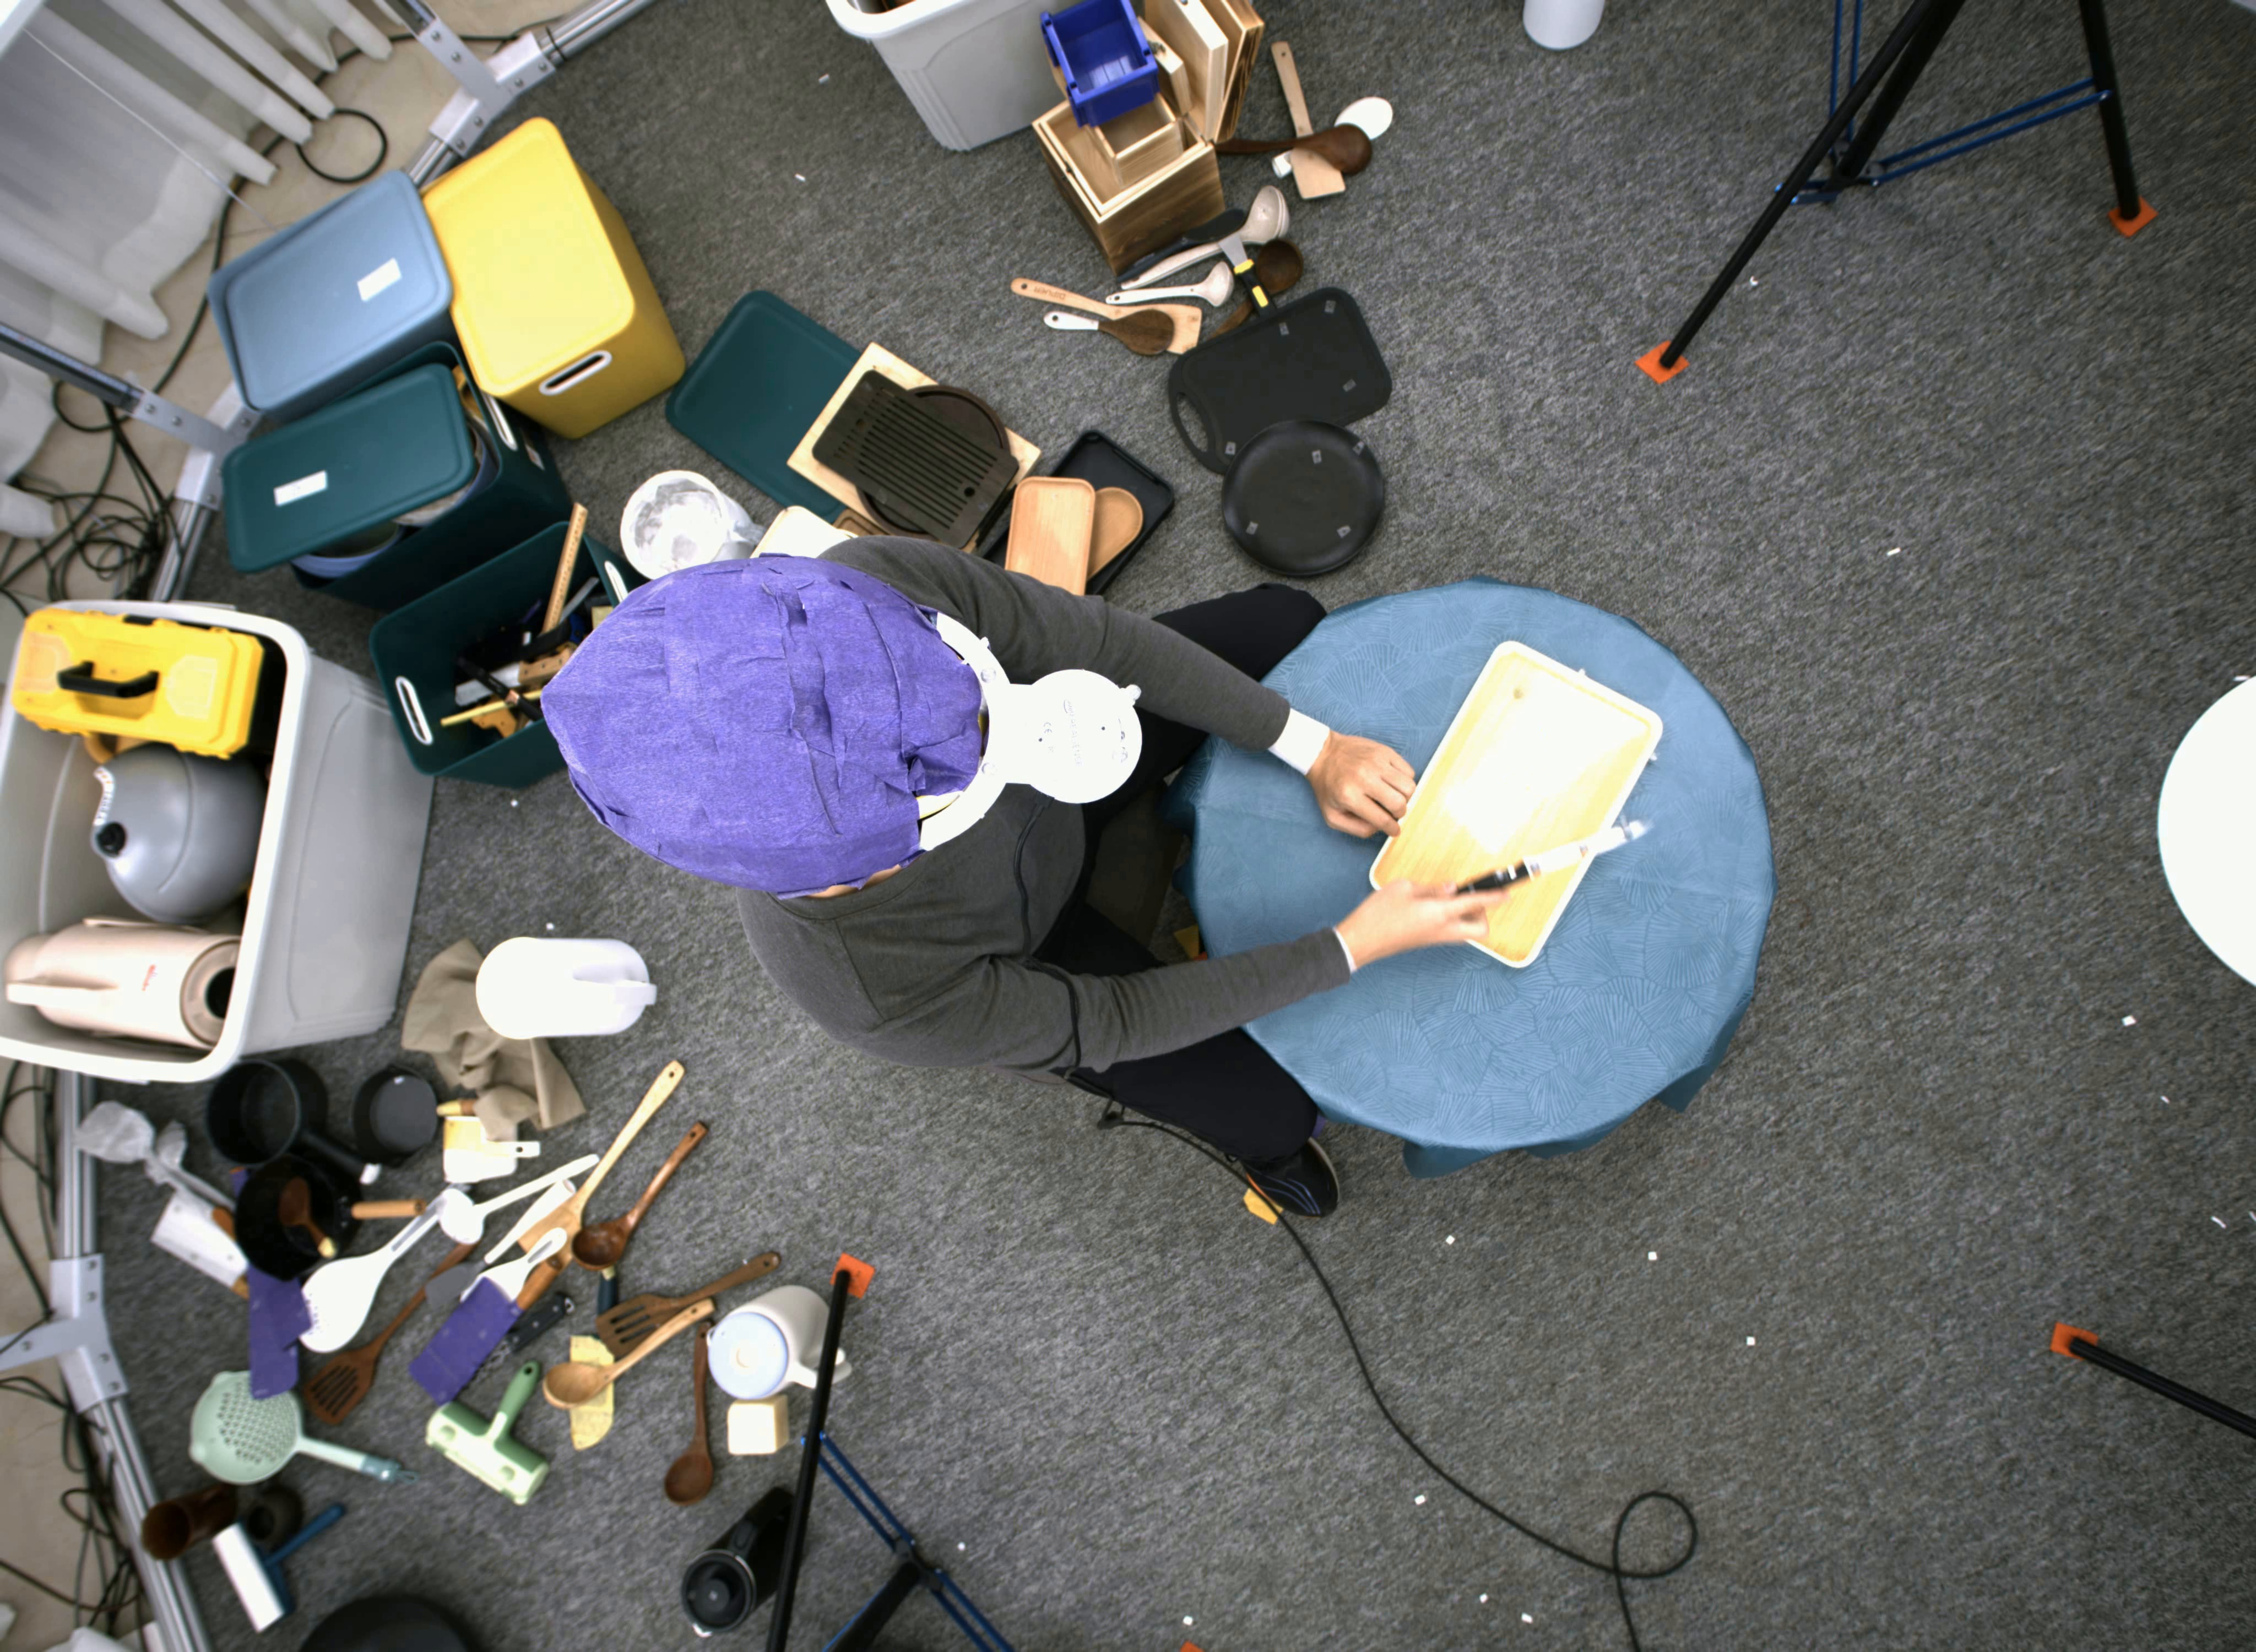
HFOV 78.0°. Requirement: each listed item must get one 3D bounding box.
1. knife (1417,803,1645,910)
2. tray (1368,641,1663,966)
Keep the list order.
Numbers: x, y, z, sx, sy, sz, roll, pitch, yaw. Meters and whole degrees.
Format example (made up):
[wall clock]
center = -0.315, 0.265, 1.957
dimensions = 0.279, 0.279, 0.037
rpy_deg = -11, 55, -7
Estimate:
[knife]
center = 0.396, 0.028, 1.350
dimensions = 0.241, 0.016, 0.024
rpy_deg = -26, 39, 17
[tray]
center = 0.400, -0.026, 1.428
dimensions = 0.191, 0.027, 0.301
rpy_deg = 30, 93, 12
